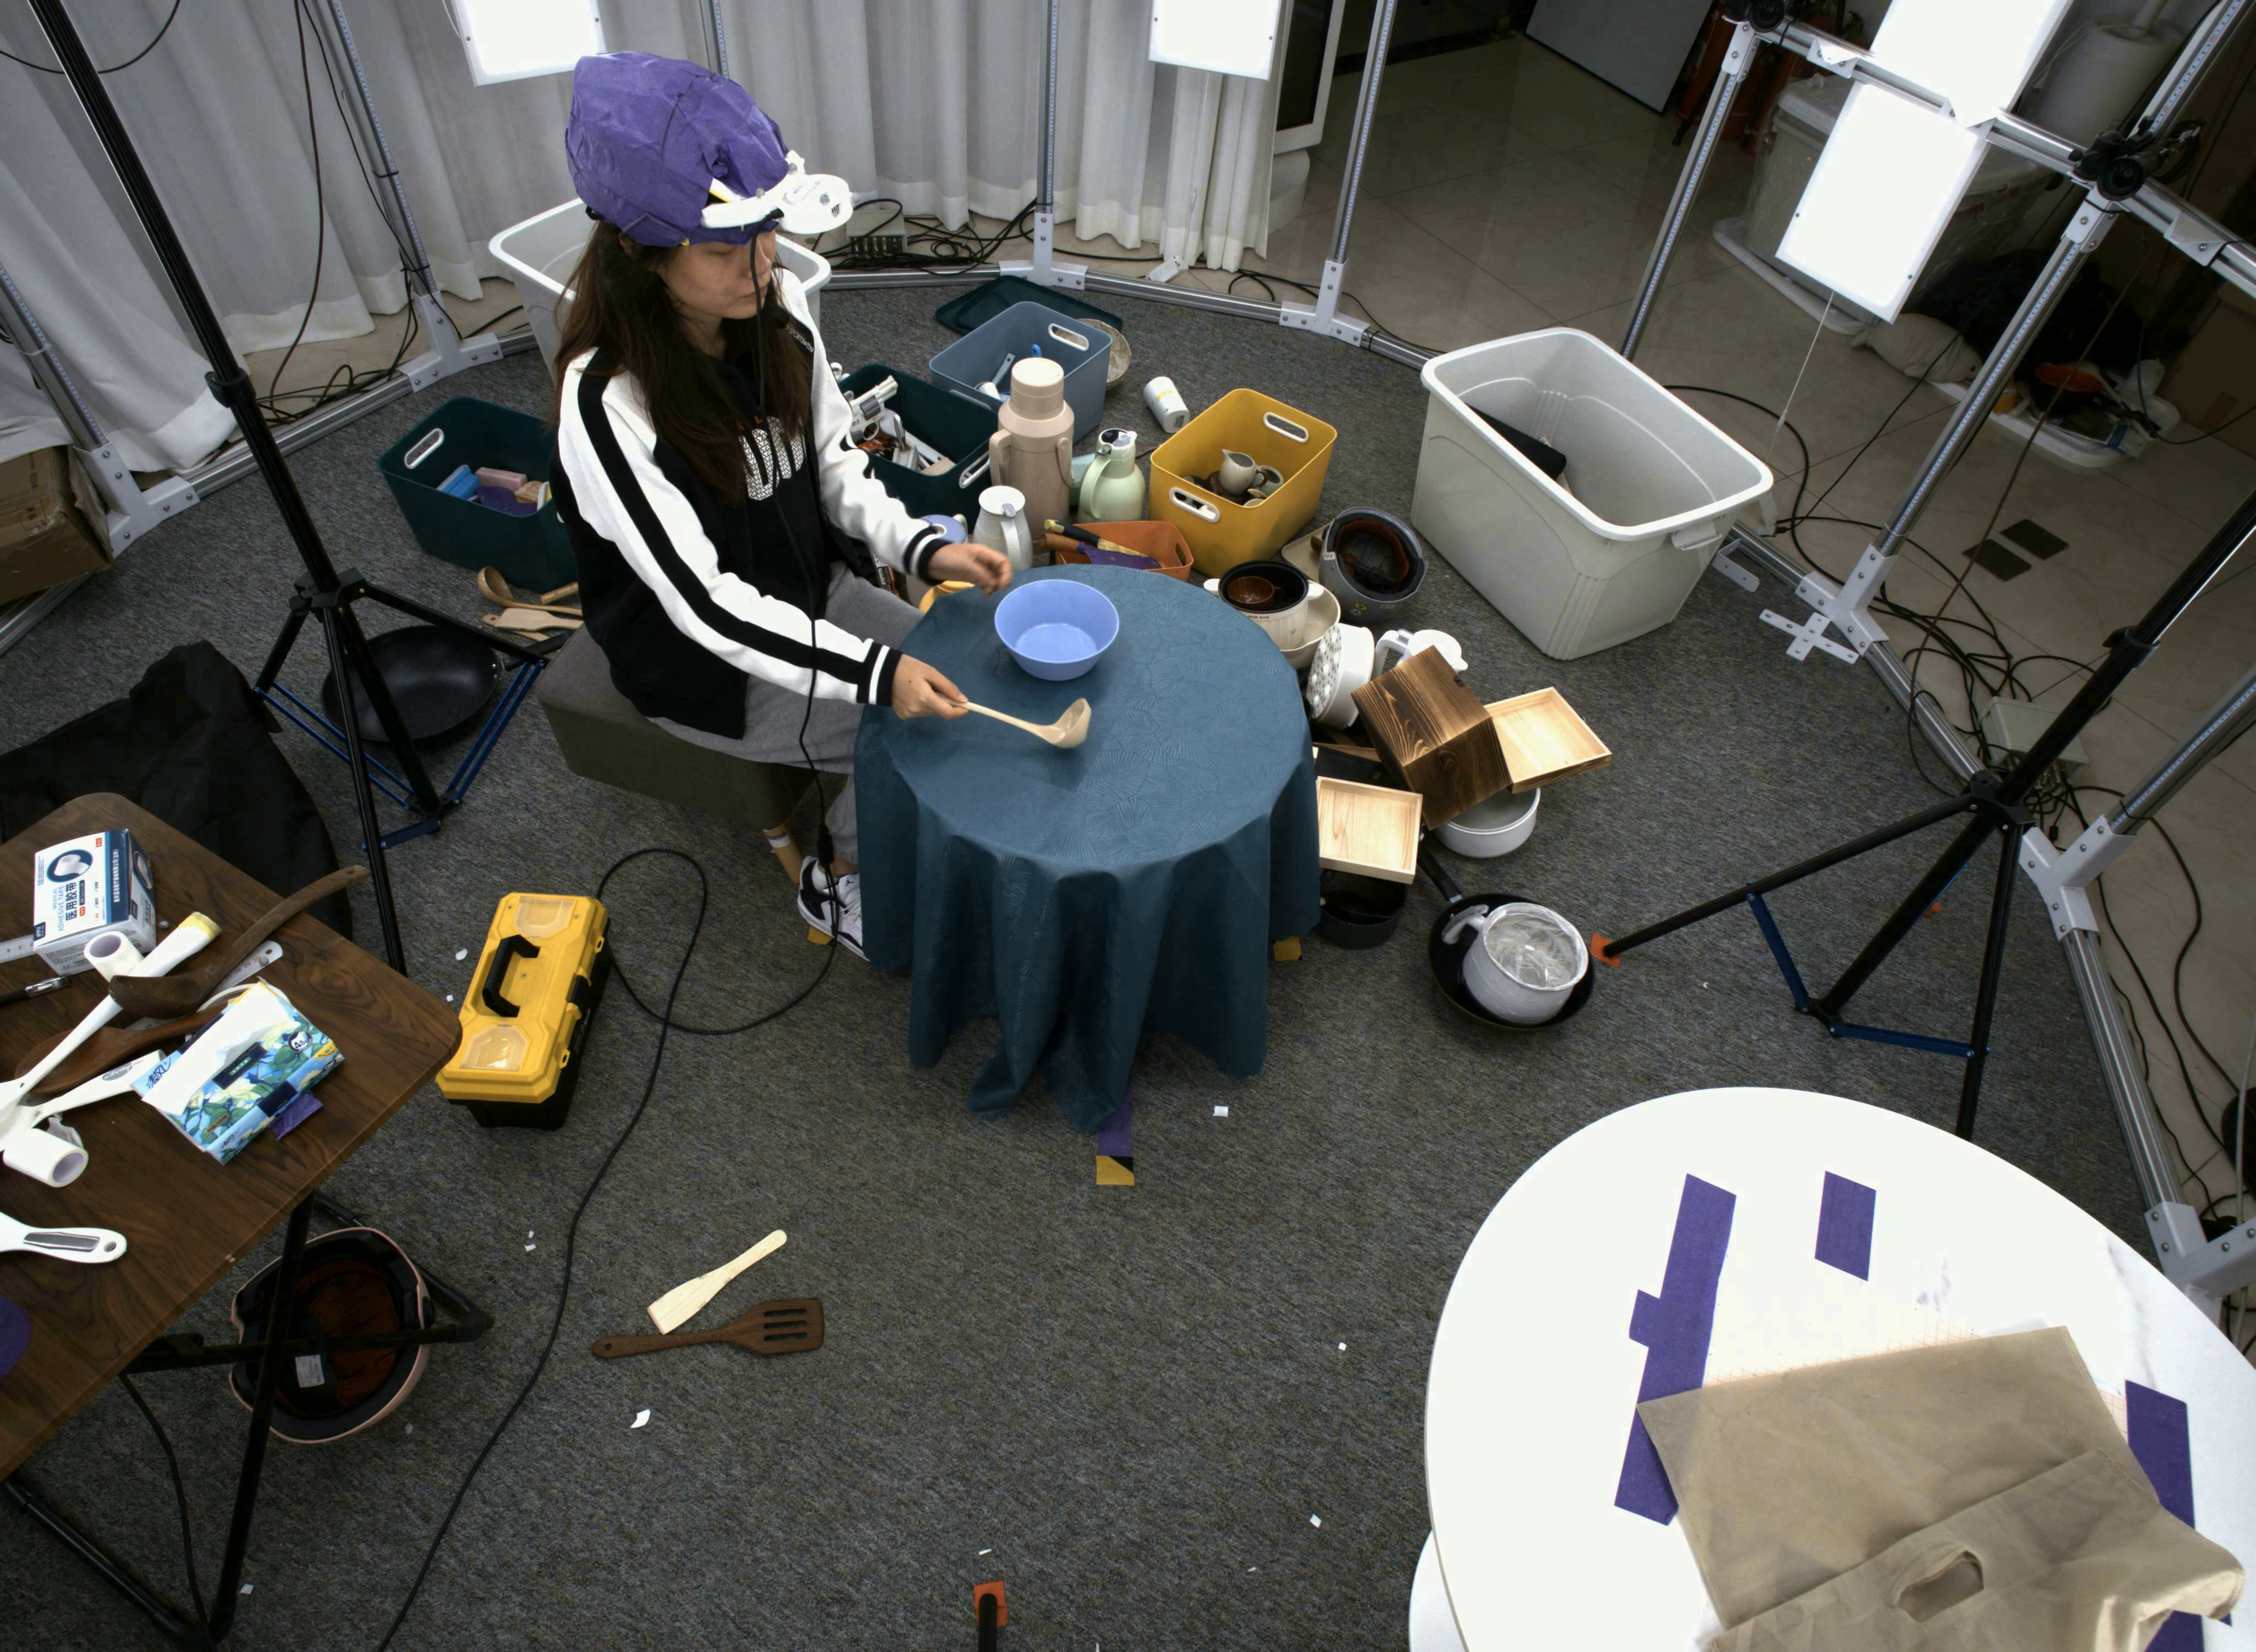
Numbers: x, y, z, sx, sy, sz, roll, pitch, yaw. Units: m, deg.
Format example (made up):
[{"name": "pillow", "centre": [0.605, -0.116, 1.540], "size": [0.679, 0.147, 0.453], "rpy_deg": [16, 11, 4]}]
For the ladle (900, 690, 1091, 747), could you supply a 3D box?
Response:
[{"name": "ladle", "centre": [-0.174, -0.167, 1.710], "size": [0.254, 0.071, 0.074], "rpy_deg": [15, 47, -4]}]

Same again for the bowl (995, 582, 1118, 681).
[{"name": "bowl", "centre": [-0.104, -0.272, 1.854], "size": [0.176, 0.068, 0.180], "rpy_deg": [2, 48, -3]}]
